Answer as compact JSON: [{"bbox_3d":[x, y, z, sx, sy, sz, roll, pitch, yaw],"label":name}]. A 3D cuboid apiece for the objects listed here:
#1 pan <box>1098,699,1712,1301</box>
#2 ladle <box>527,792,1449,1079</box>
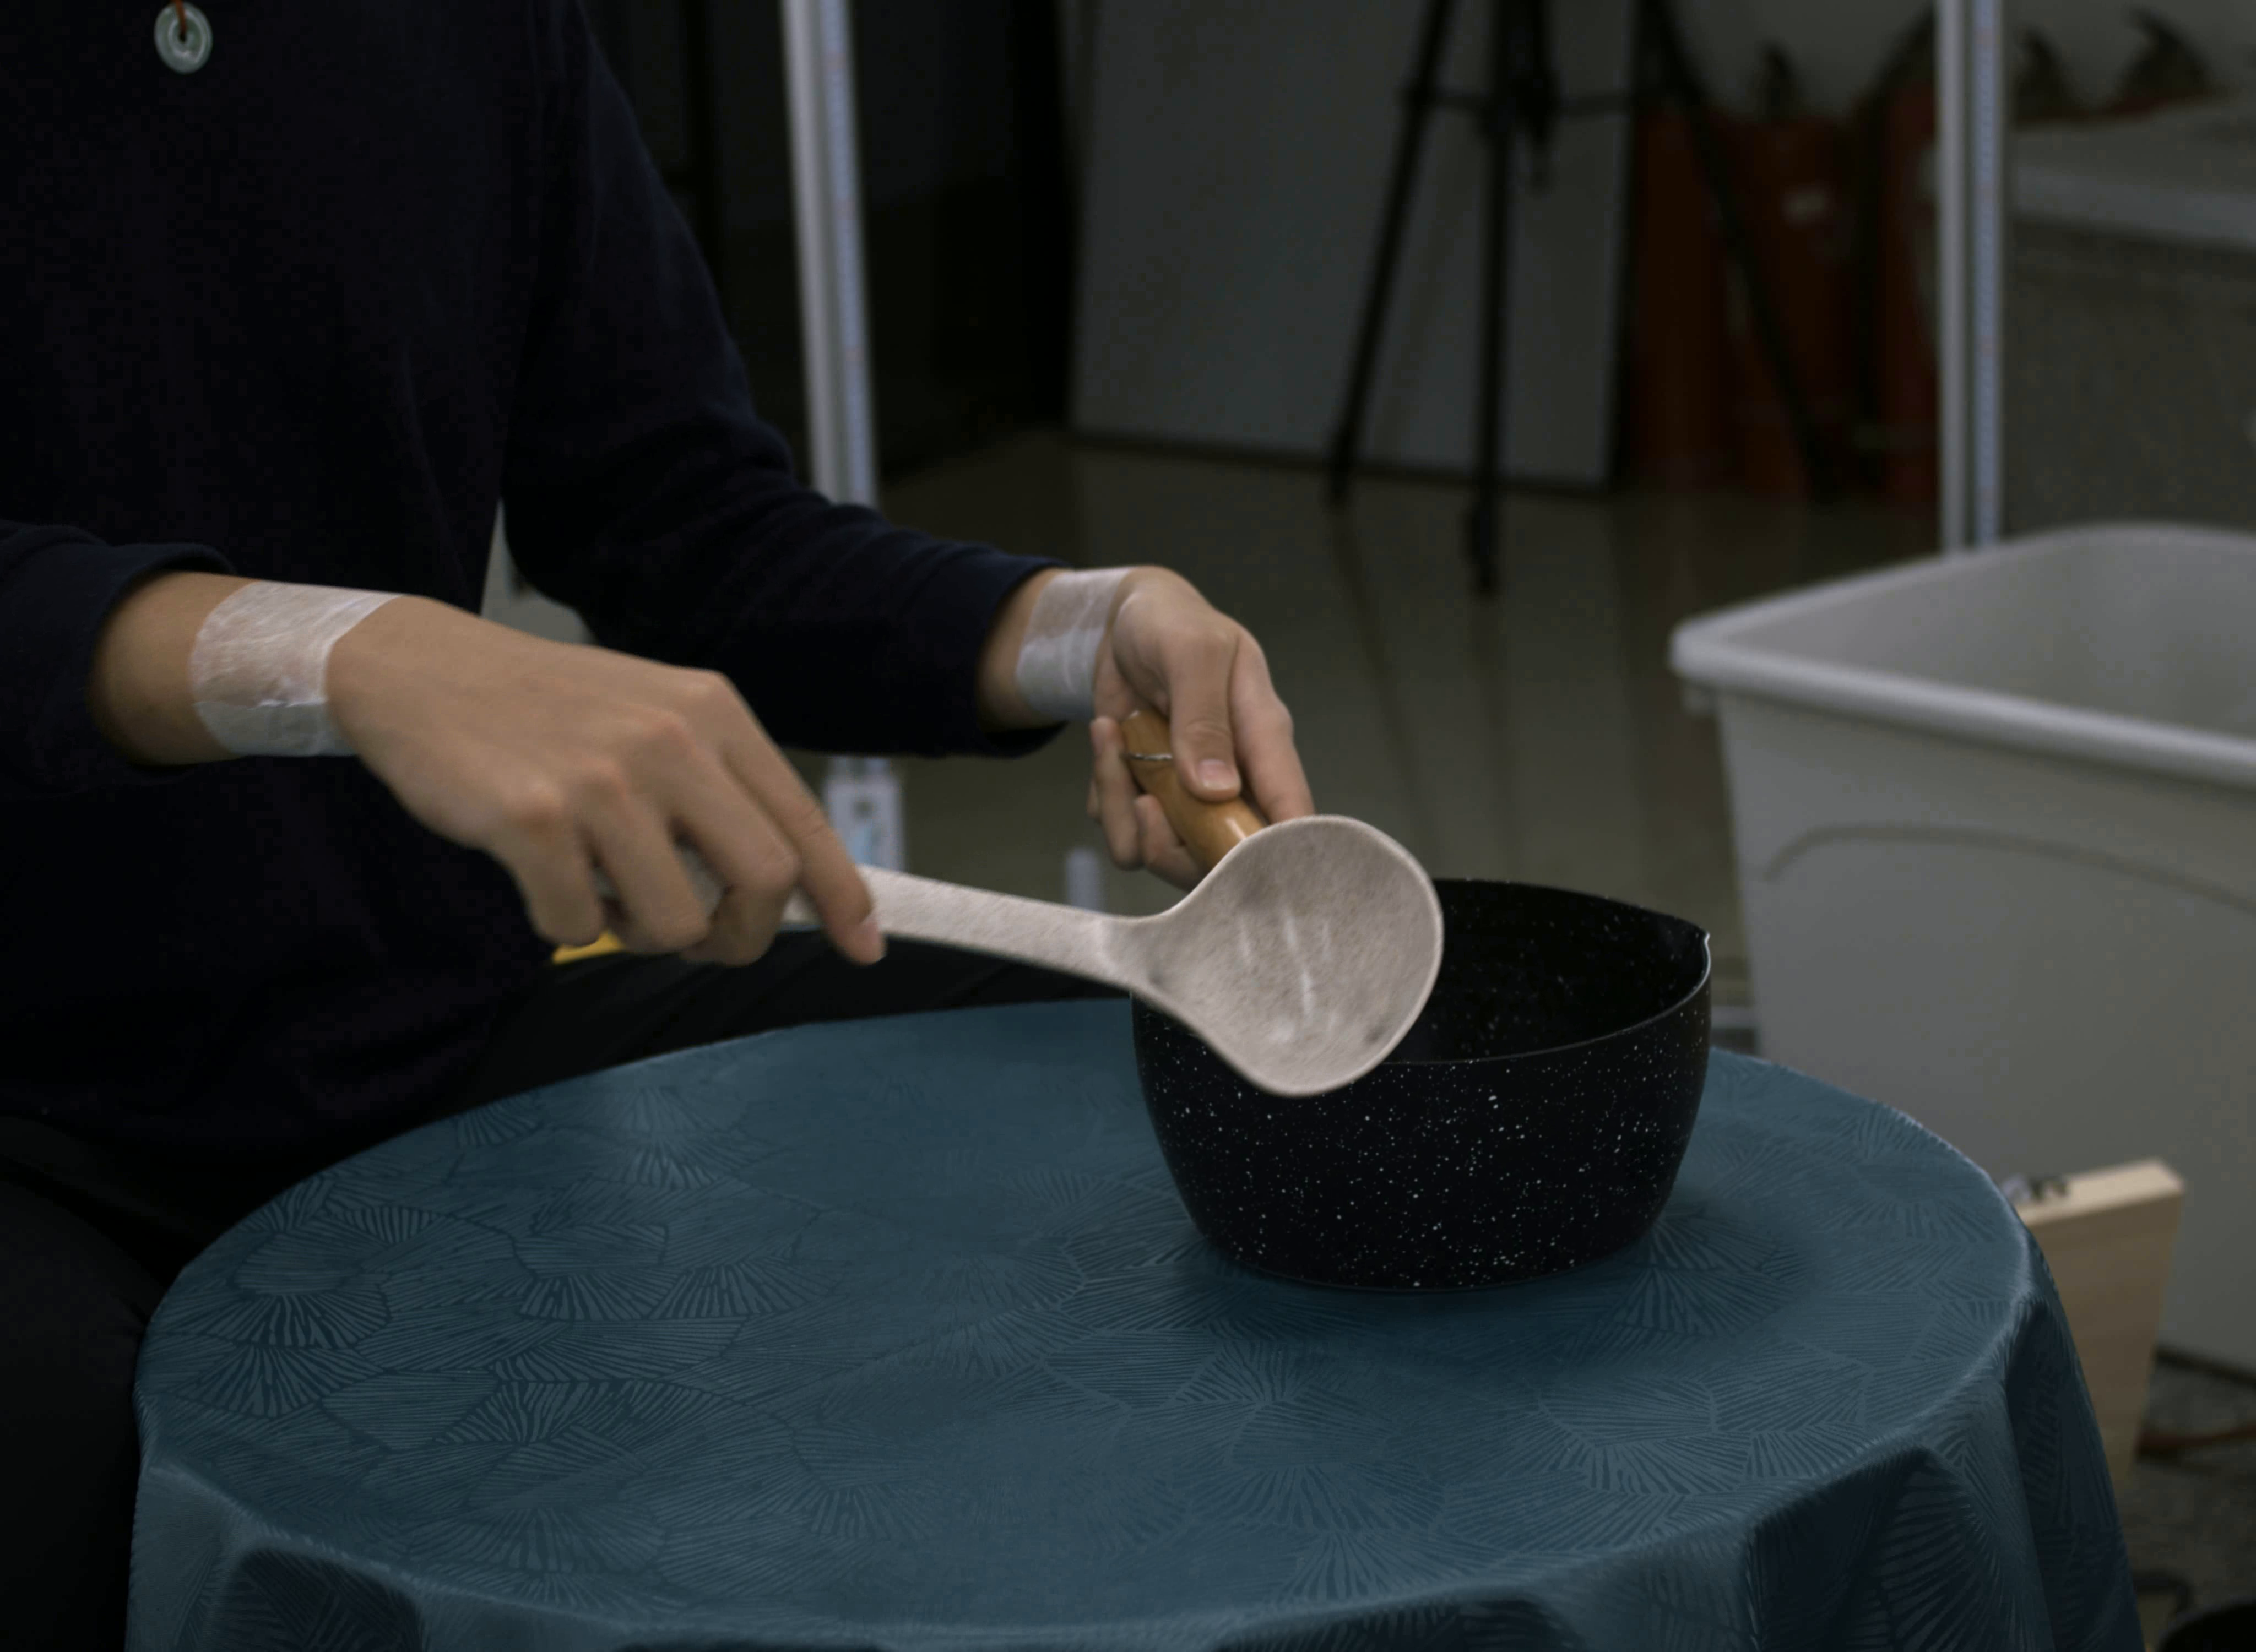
[{"bbox_3d":[0.065,0.052,1.778,0.203,0.109,0.346,-10,19,-19],"label":"pan"},{"bbox_3d":[-0.034,0.012,1.526,0.268,0.090,0.070,13,-28,-31],"label":"ladle"}]
